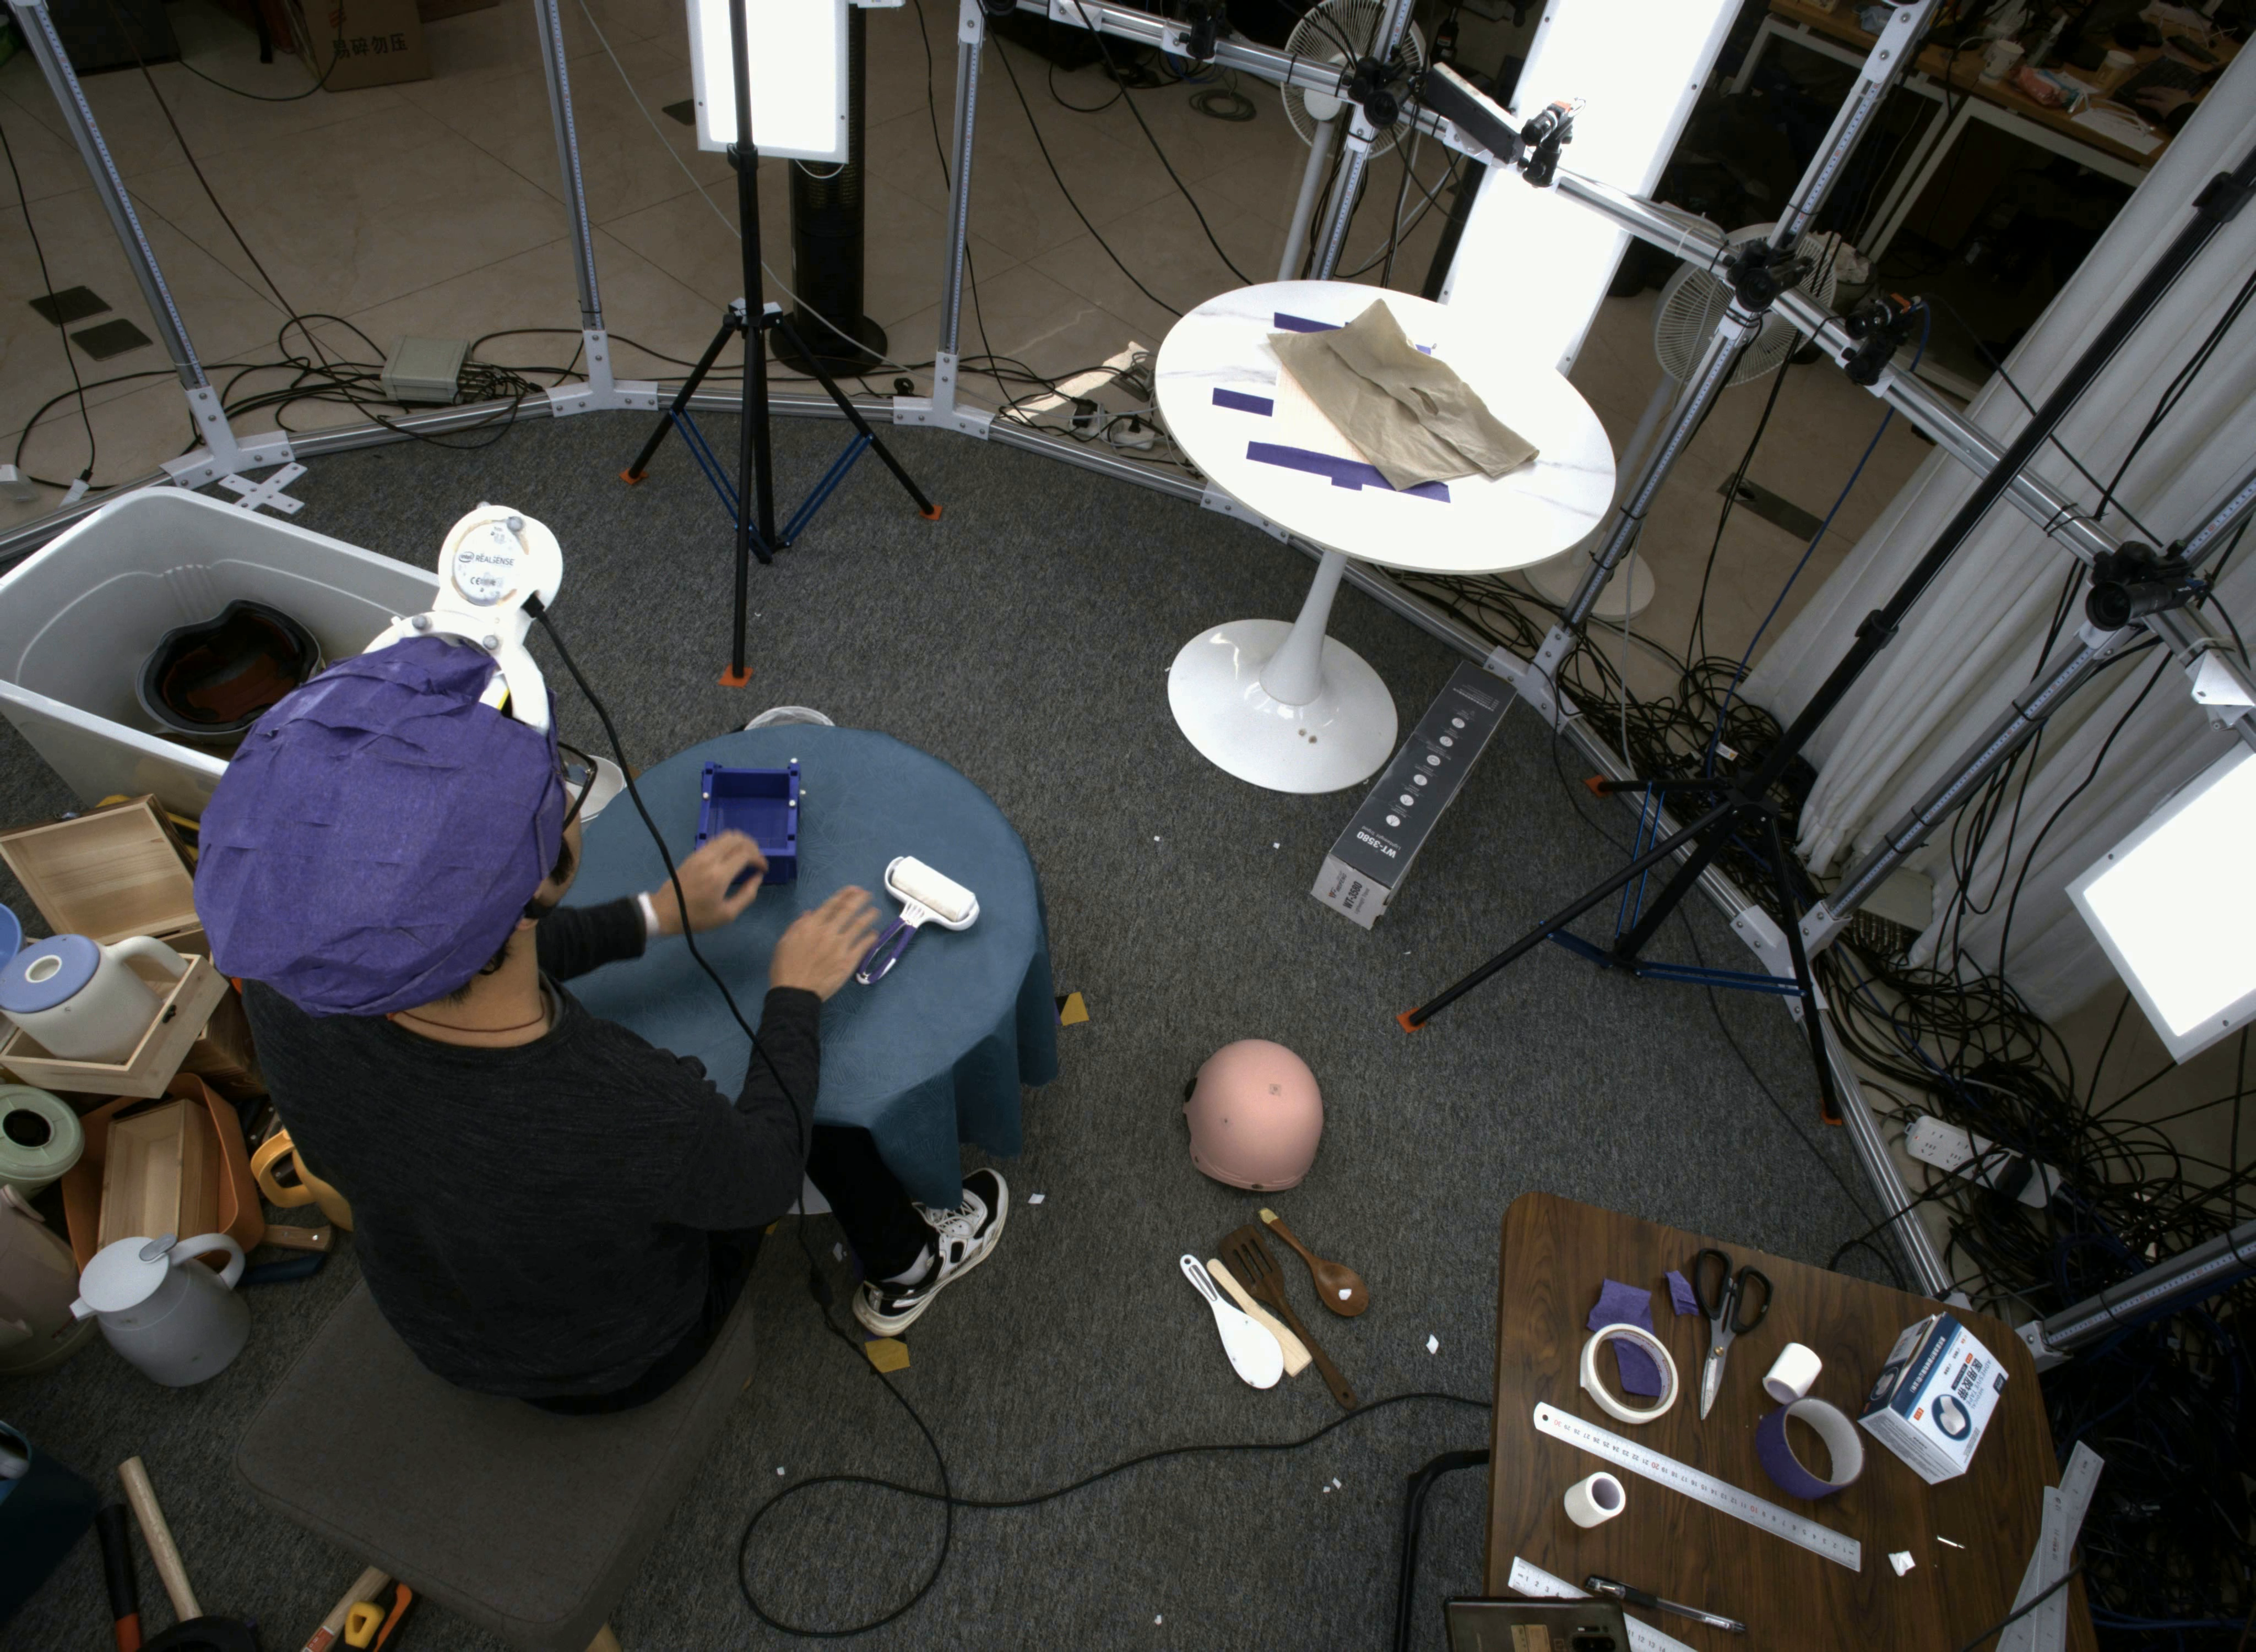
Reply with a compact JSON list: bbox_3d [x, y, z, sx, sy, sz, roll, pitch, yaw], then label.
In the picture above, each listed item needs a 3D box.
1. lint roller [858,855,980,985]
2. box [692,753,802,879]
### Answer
[{"bbox_3d":[-0.283,0.121,1.636,0.131,0.051,0.180,32,51,9],"label":"lint roller"},{"bbox_3d":[-0.489,-0.021,1.665,0.124,0.083,0.176,1,56,-12],"label":"box"}]
